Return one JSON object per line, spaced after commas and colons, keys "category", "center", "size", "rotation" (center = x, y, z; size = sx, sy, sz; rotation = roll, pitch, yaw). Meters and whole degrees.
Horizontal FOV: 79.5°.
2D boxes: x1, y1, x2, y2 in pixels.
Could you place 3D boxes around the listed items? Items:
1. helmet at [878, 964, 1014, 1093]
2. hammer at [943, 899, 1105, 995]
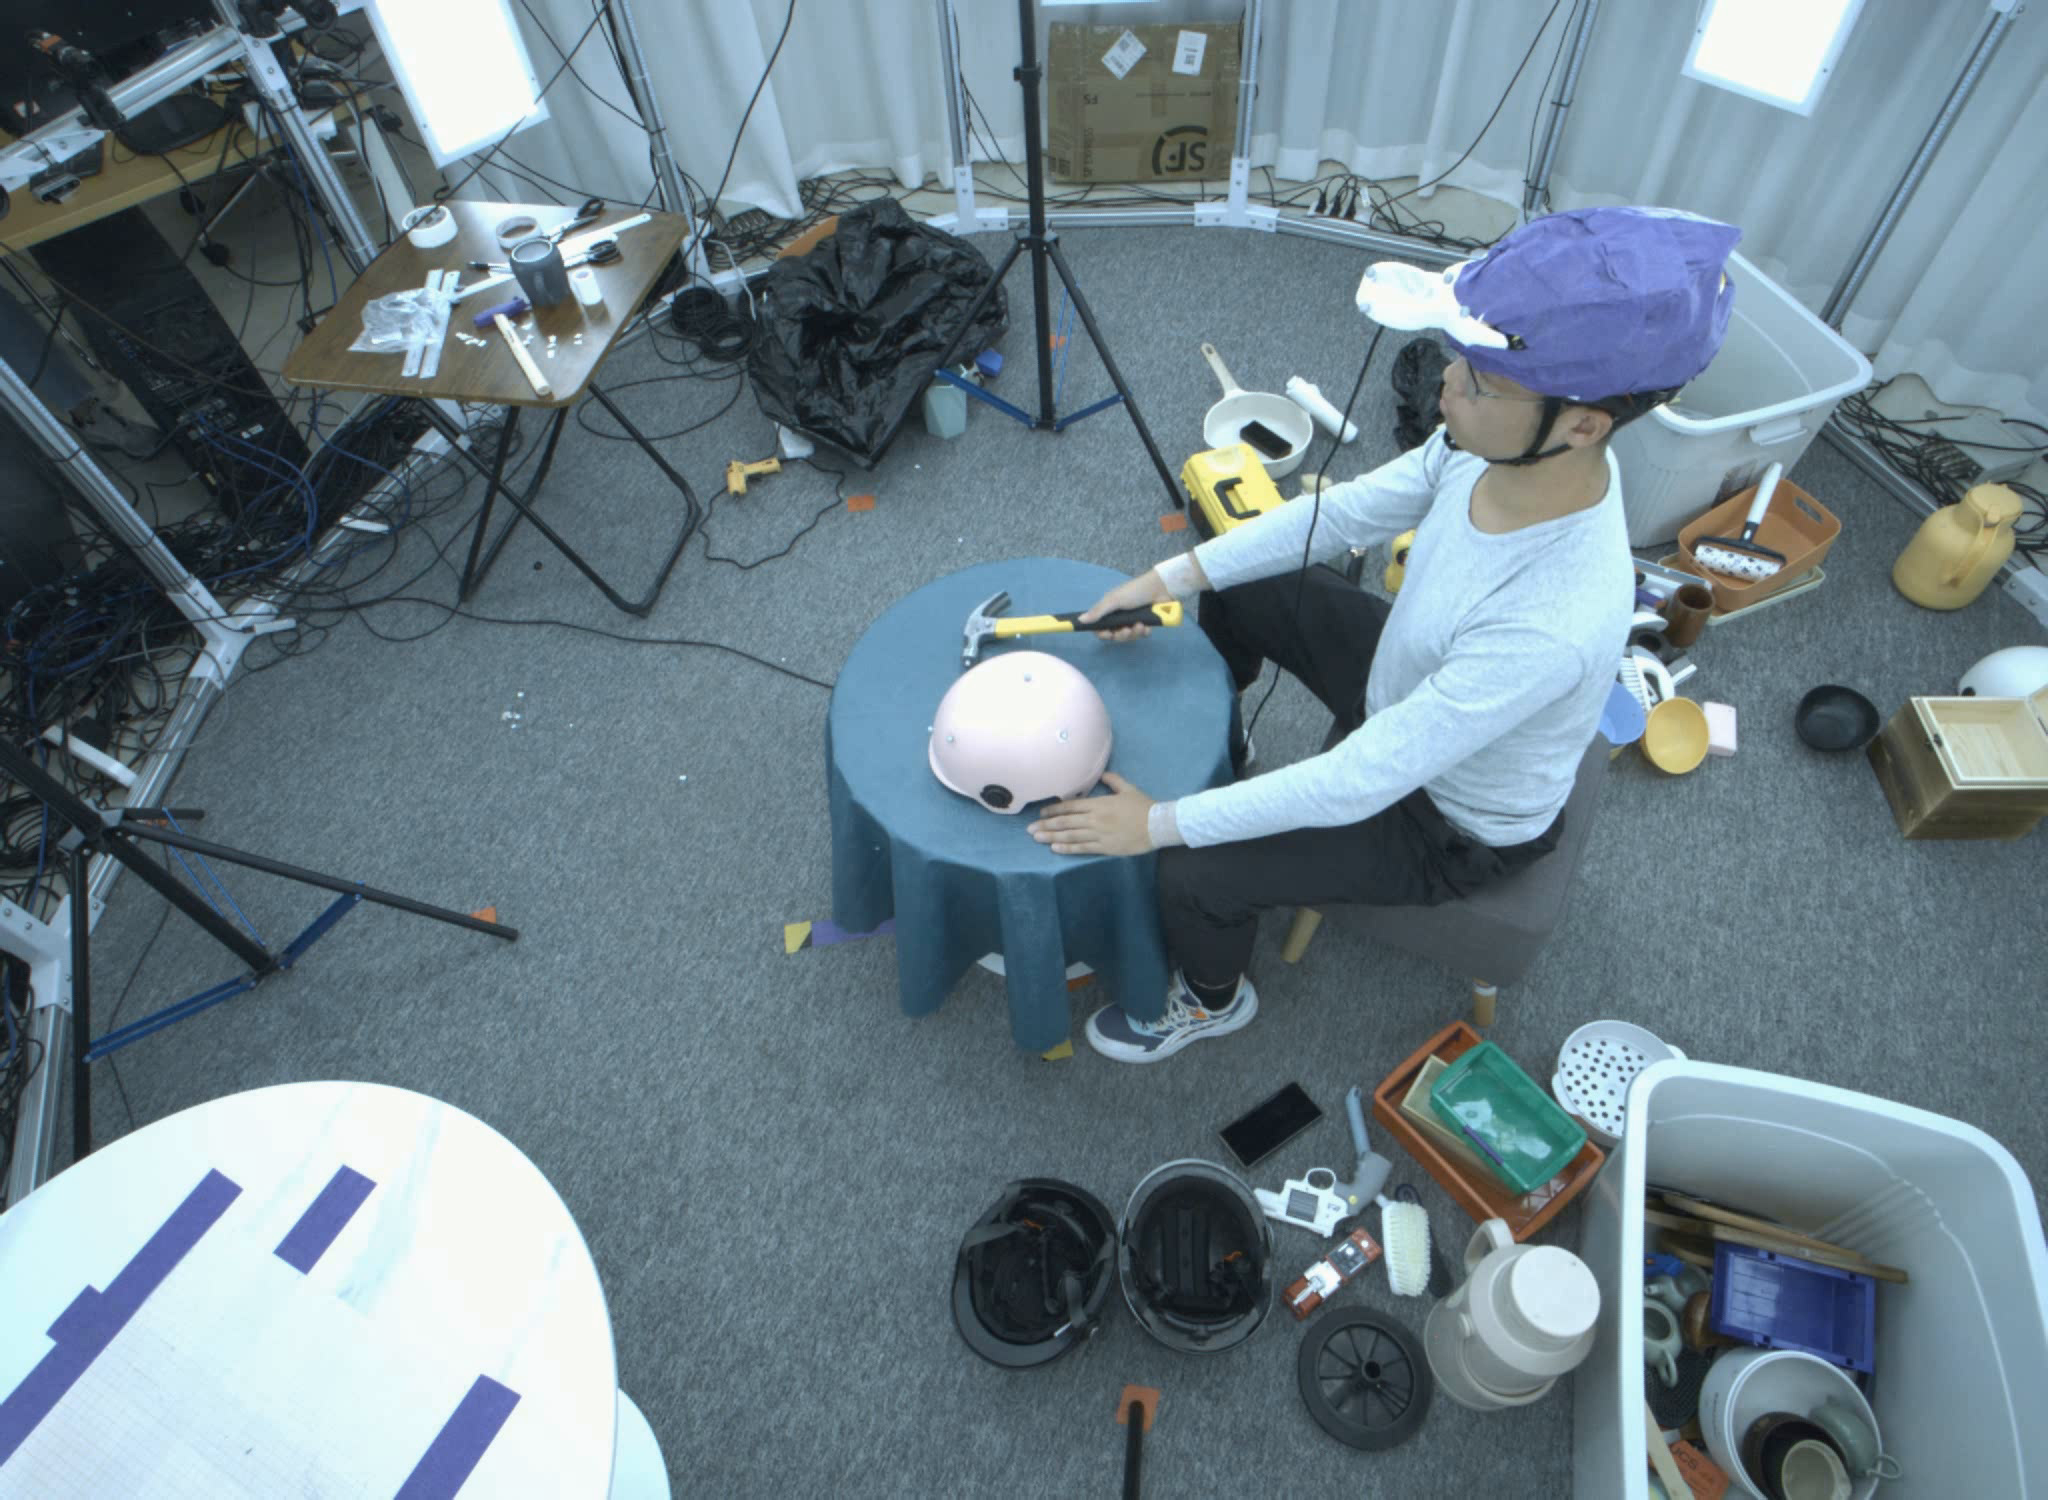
{"category": "helmet", "center": [-0.156, 0.488, 2.247], "size": [0.262, 0.161, 0.234], "rotation": [21, 58, 20]}
{"category": "hammer", "center": [0.009, 0.382, 2.348], "size": [0.331, 0.033, 0.132], "rotation": [22, 56, 31]}
